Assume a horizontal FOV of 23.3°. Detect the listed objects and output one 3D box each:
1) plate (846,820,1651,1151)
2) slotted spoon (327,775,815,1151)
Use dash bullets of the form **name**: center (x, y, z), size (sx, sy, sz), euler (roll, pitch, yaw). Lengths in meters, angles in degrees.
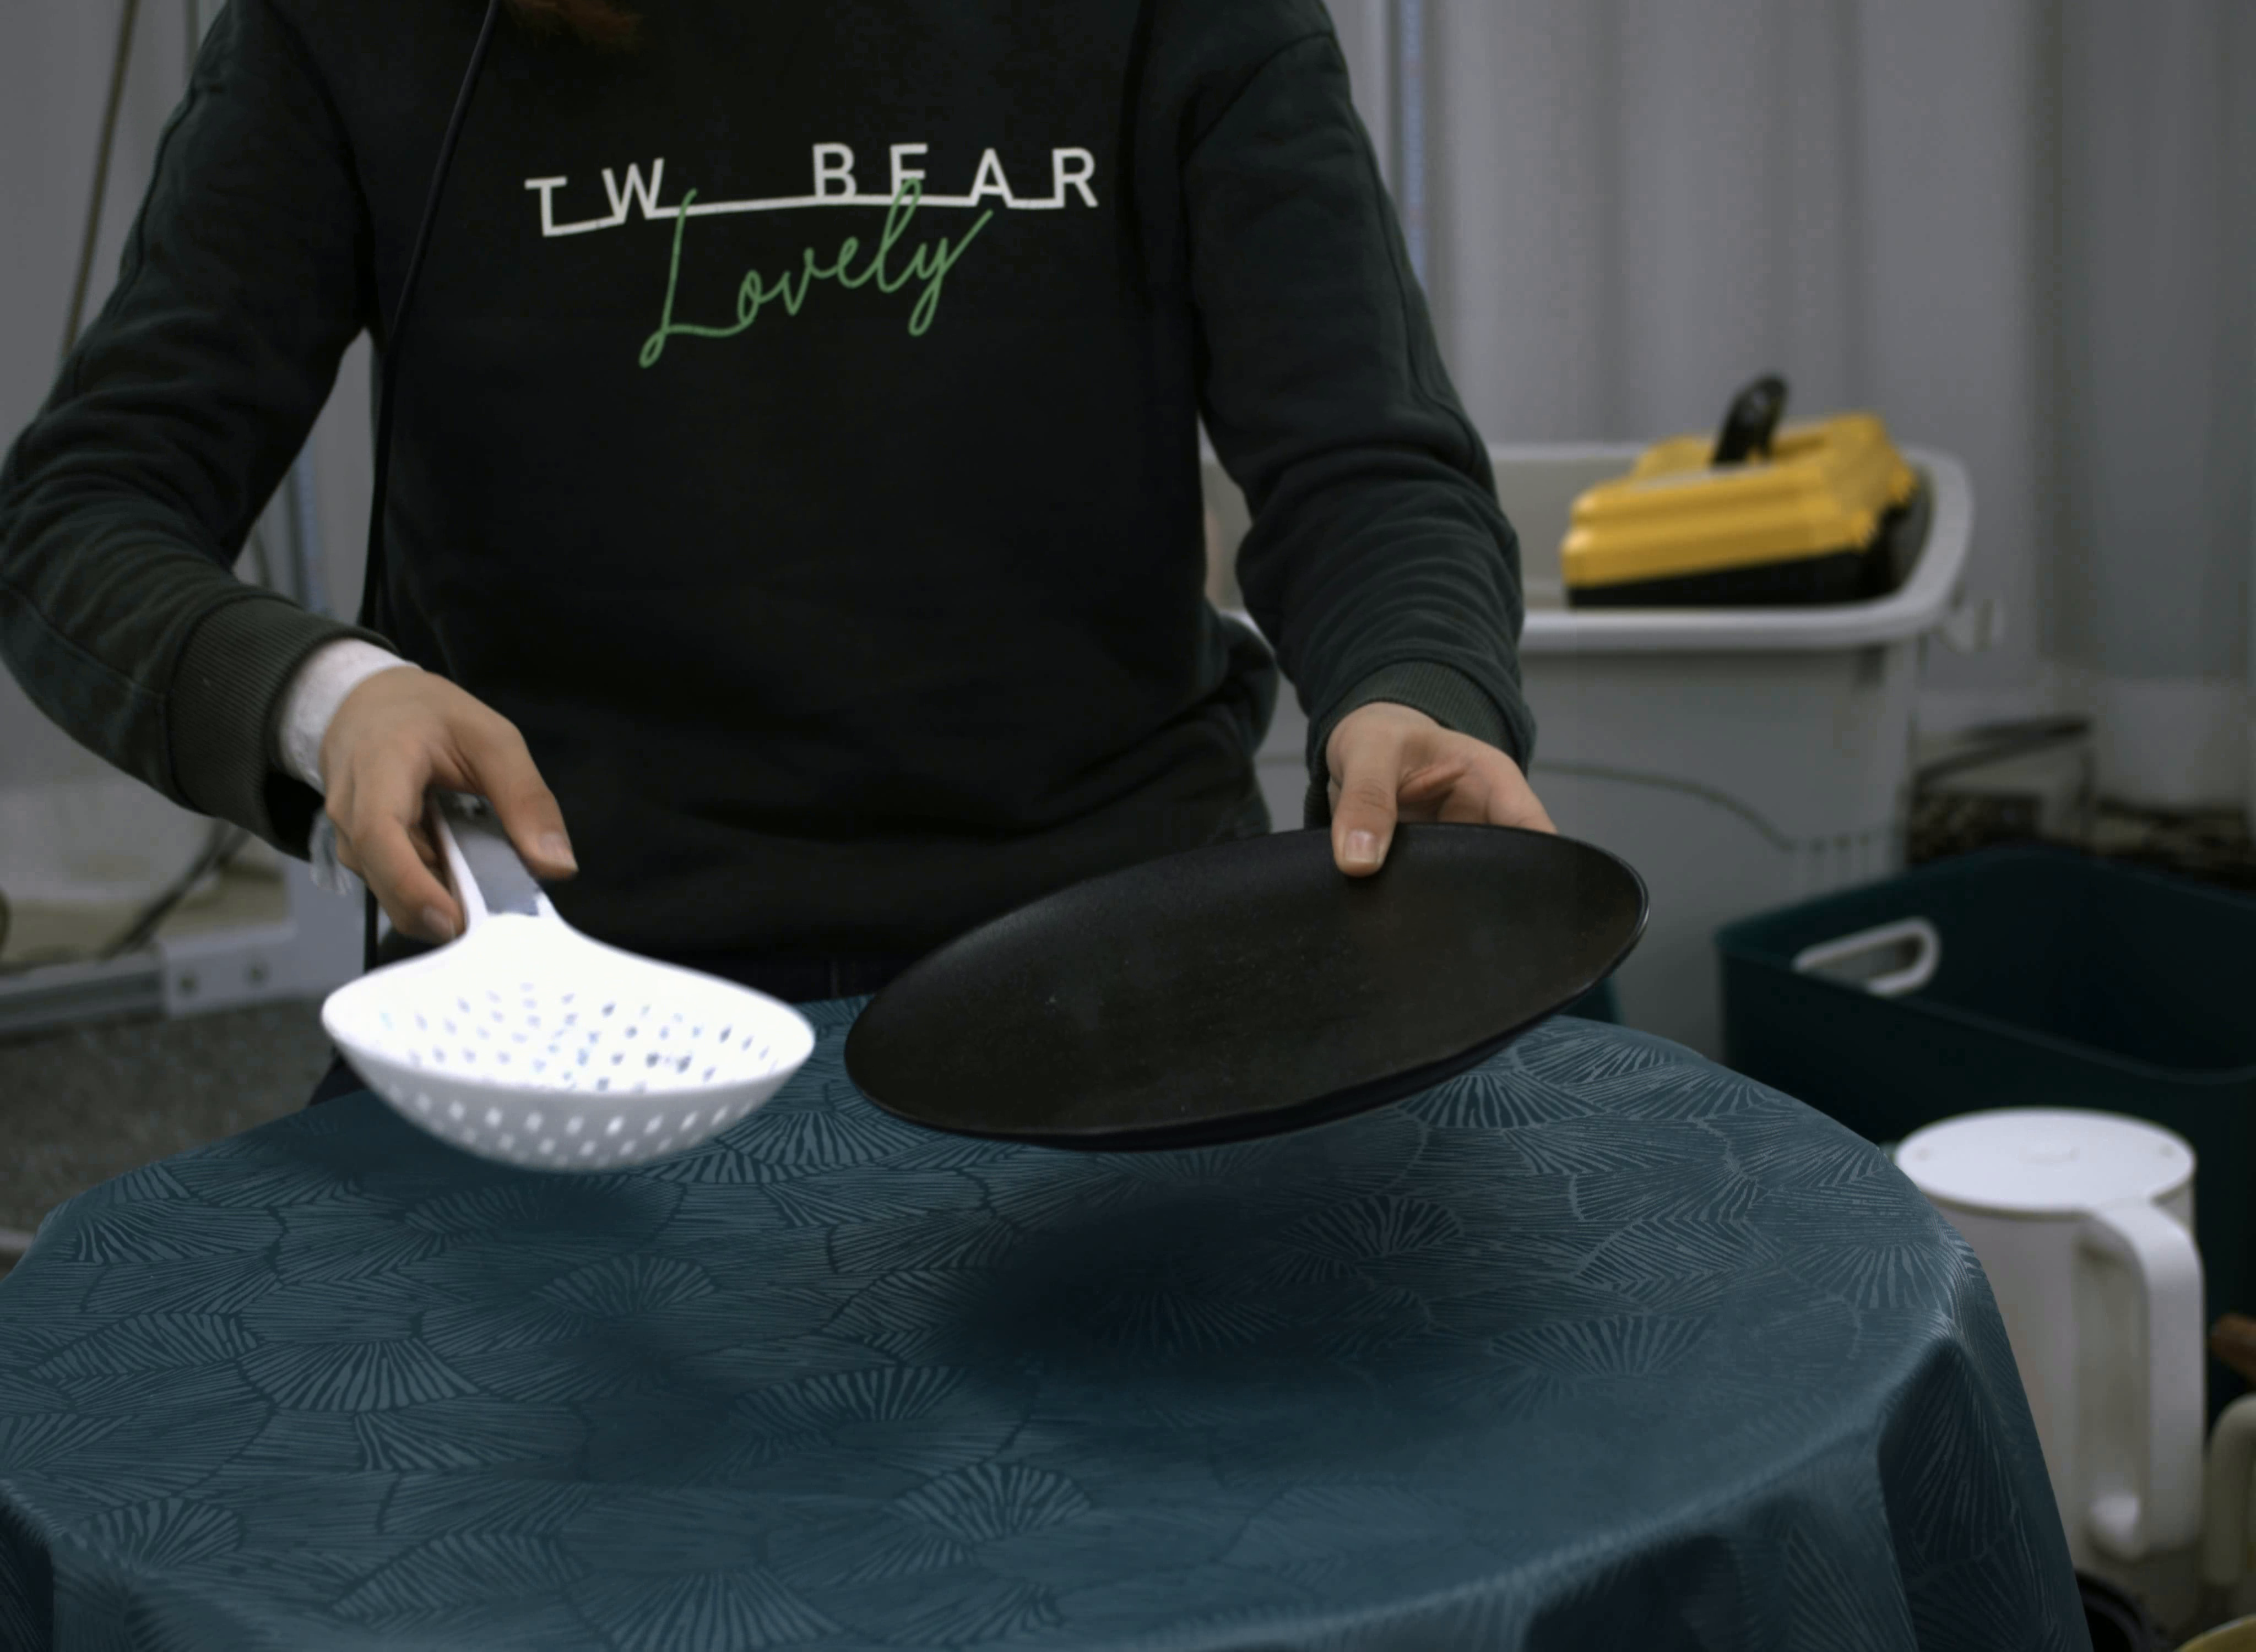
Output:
- **plate**: center (0.037, 0.050, 1.622), size (0.243, 0.023, 0.246), euler (-11, 17, 3)
- **slotted spoon**: center (-0.180, 0.031, 1.623), size (0.135, 0.045, 0.353), euler (3, 17, -14)
